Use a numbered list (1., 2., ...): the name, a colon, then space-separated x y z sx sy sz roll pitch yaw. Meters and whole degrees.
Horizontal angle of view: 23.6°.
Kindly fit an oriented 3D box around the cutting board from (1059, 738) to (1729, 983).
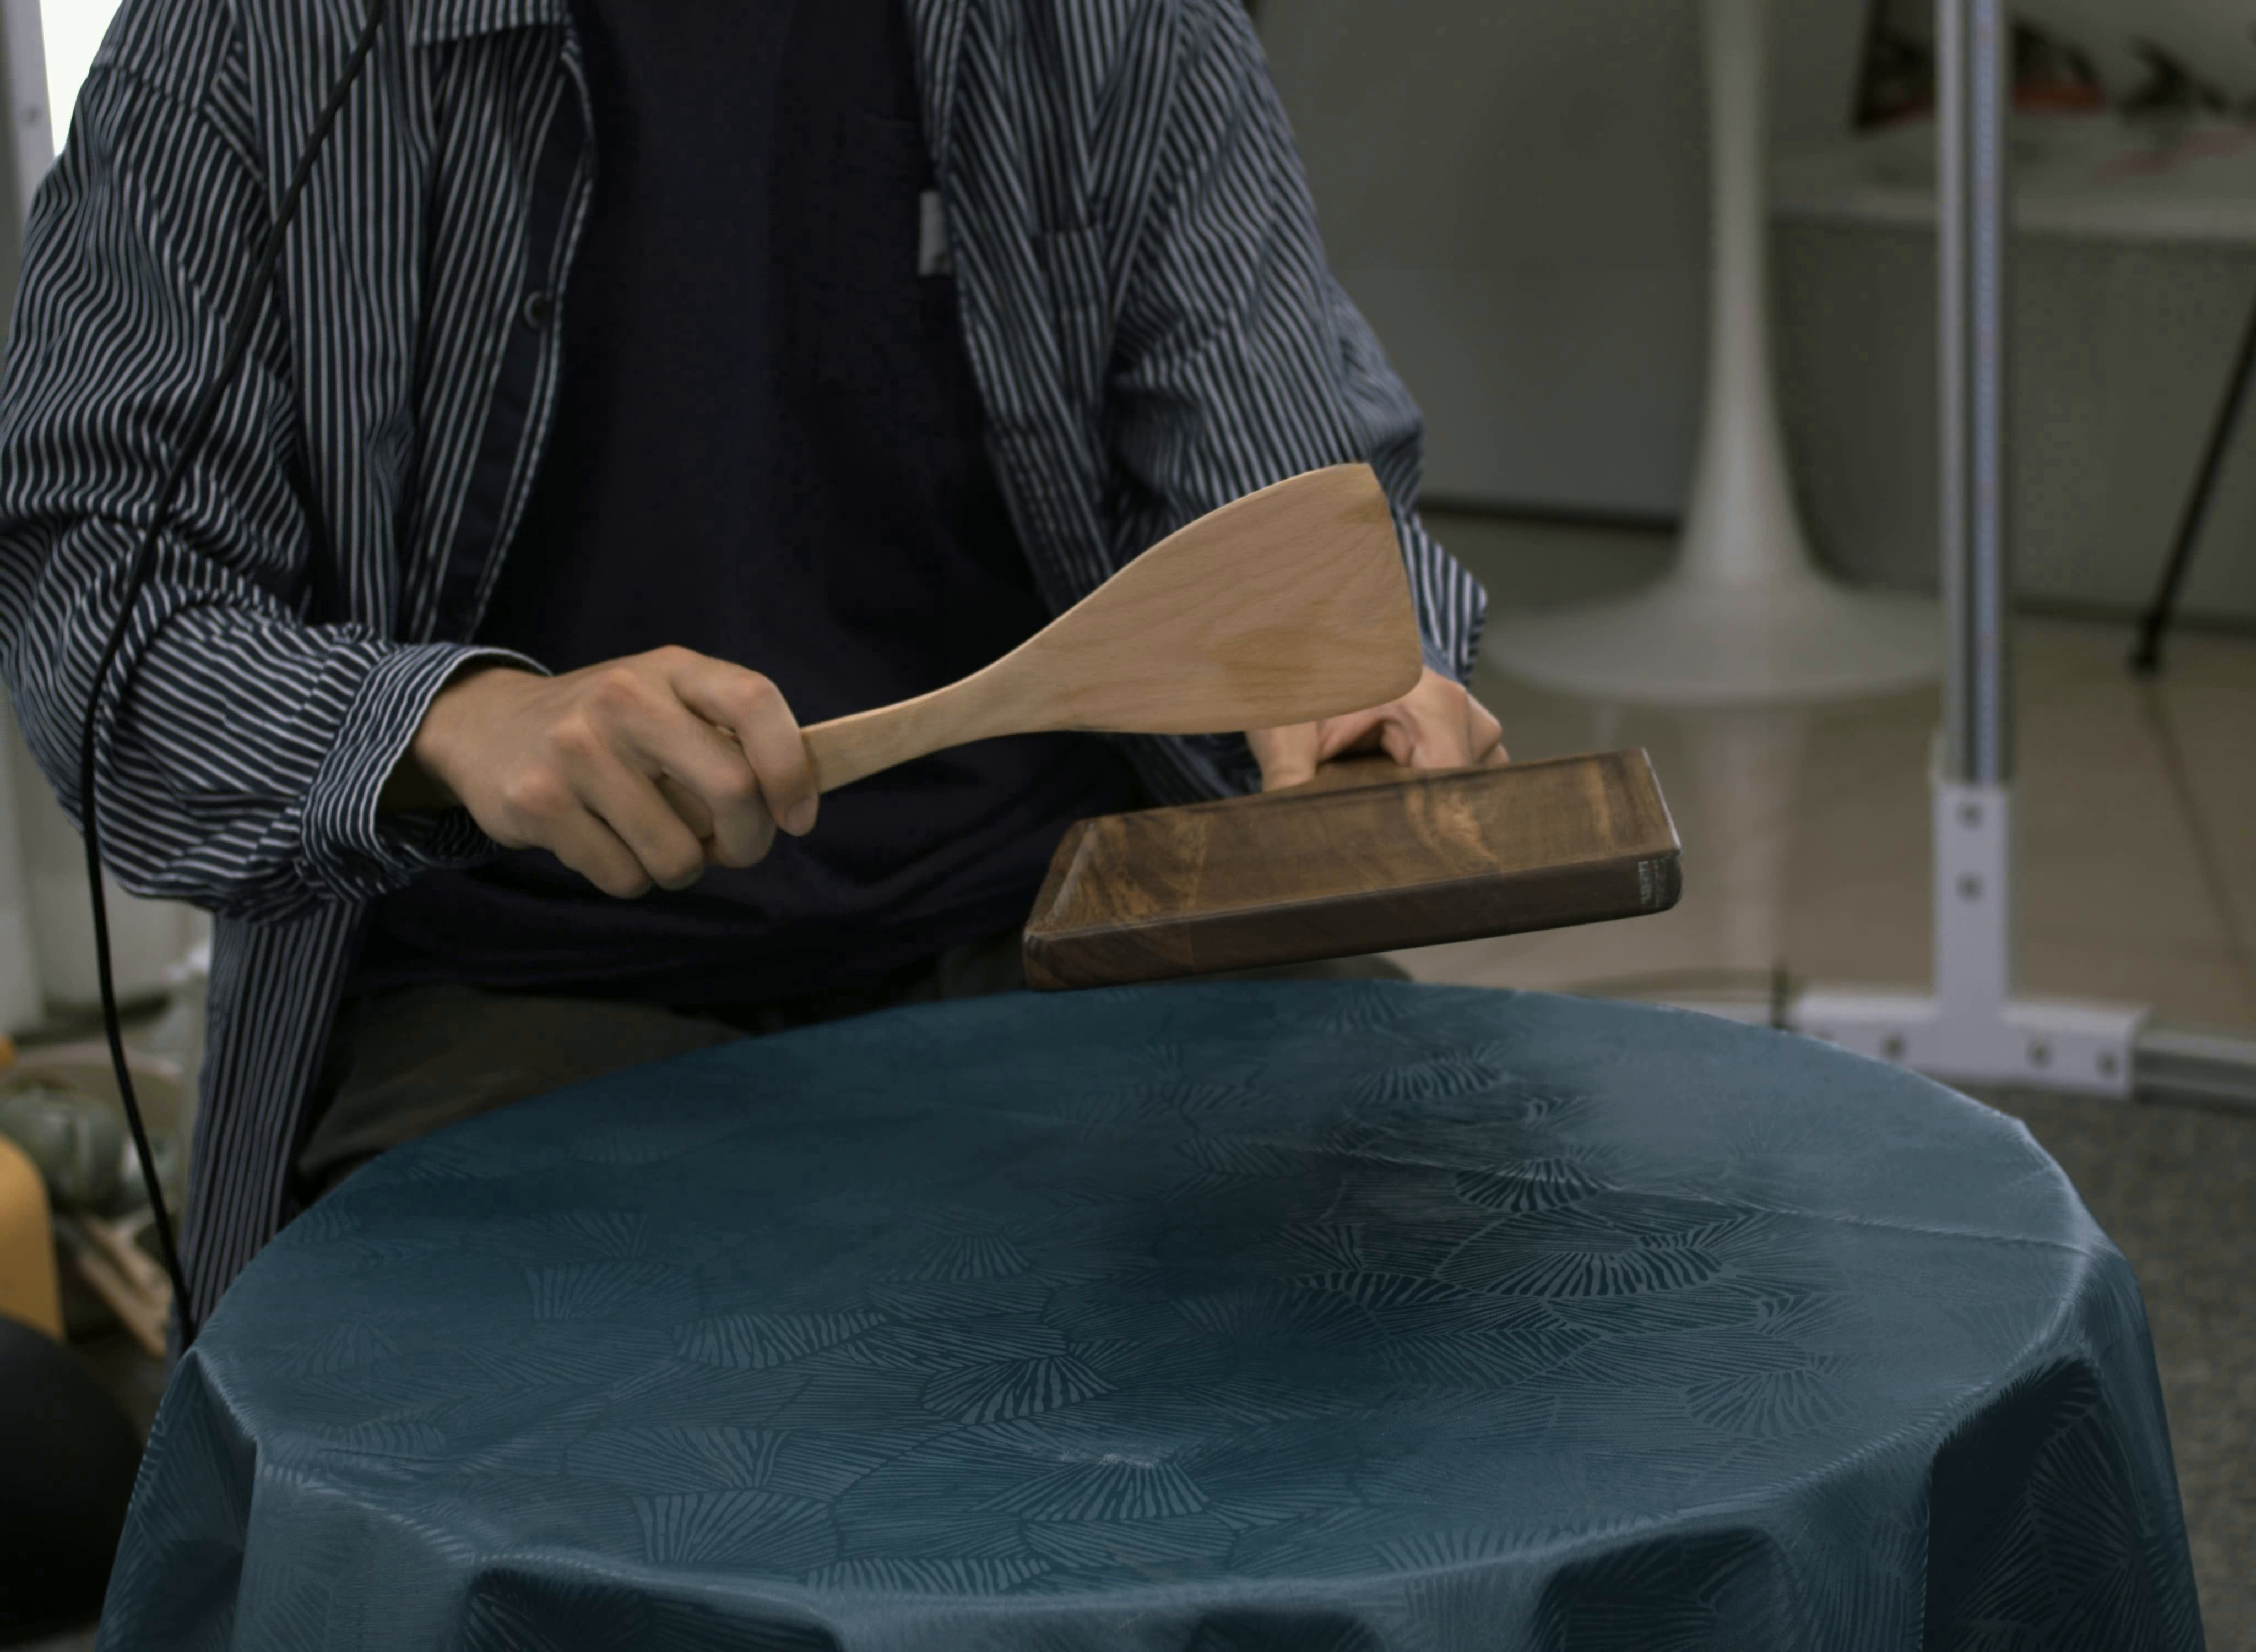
1. cutting board: 0.086 0.002 1.722 0.199 0.023 0.351 -8 7 5

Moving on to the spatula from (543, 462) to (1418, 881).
1. spatula: -0.052 -0.034 1.728 0.329 0.080 0.016 -17 17 28
